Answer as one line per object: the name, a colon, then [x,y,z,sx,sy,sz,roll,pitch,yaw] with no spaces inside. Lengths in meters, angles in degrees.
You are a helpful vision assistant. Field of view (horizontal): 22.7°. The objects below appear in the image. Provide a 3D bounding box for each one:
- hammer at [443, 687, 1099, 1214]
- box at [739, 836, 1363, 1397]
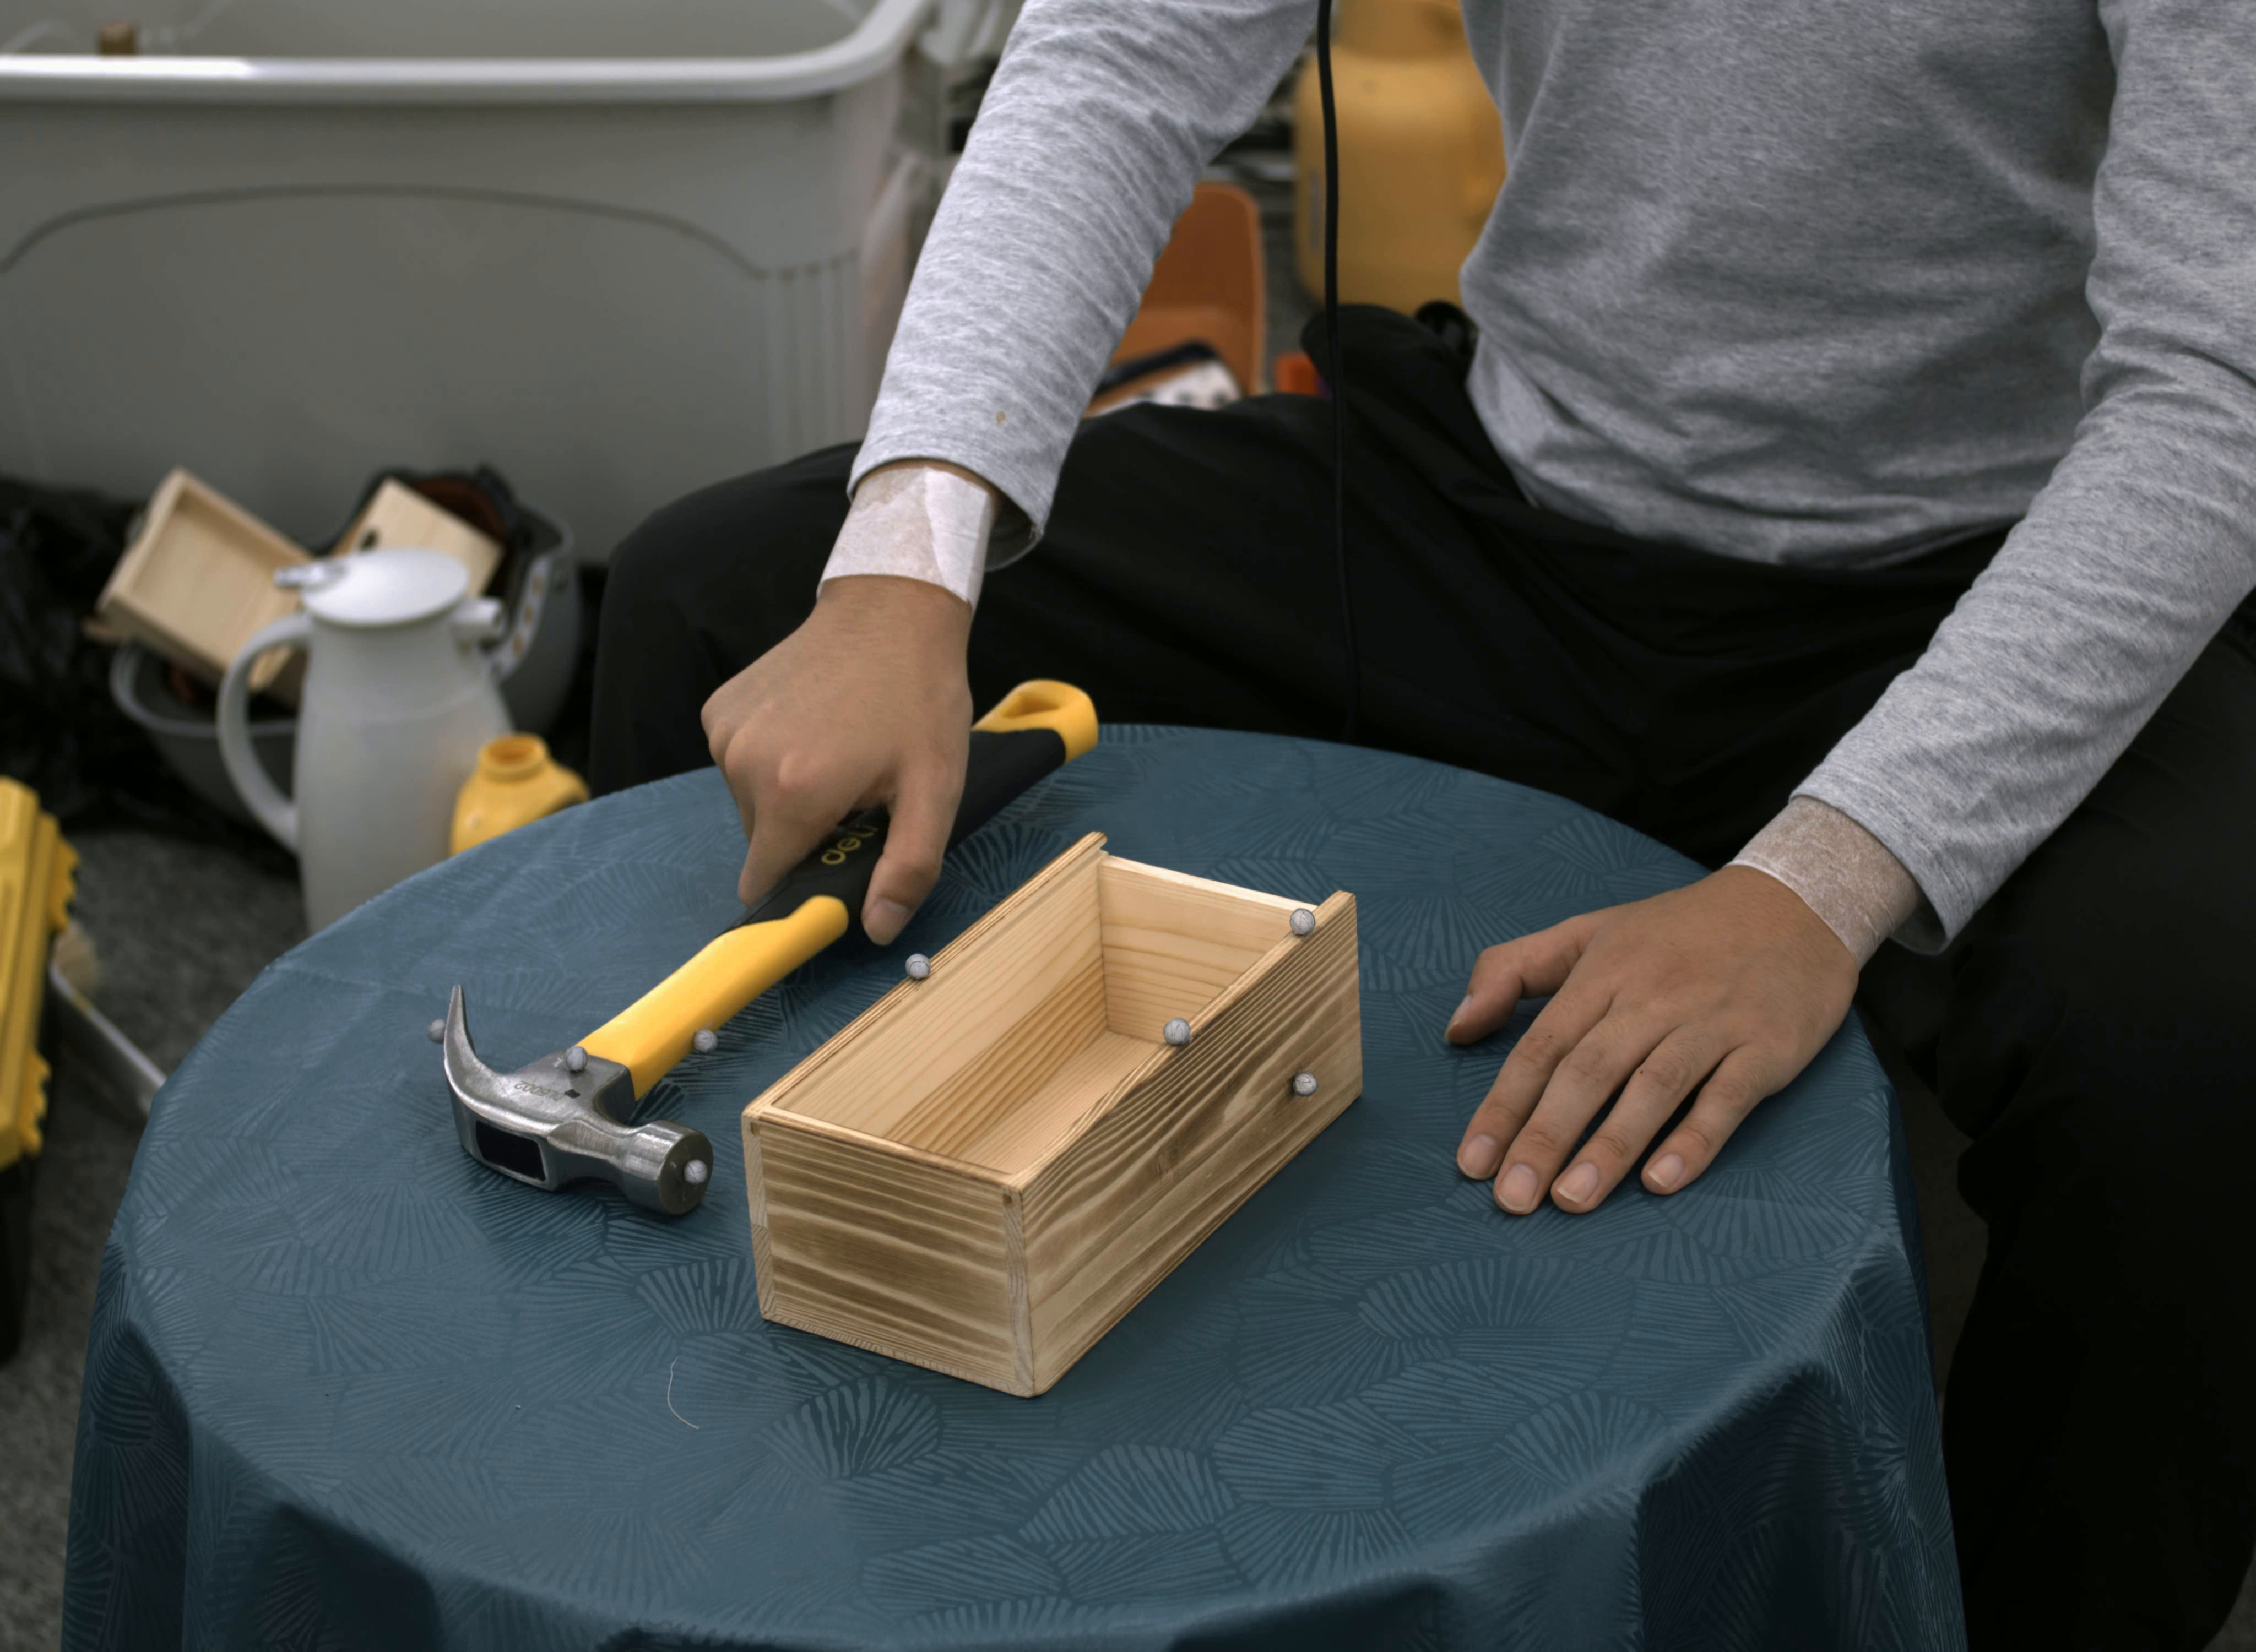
hammer: [-0.116,0.033,2.001,0.130,0.032,0.344,12,33,31]
box: [-0.022,0.091,1.841,0.107,0.079,0.215,12,31,29]
